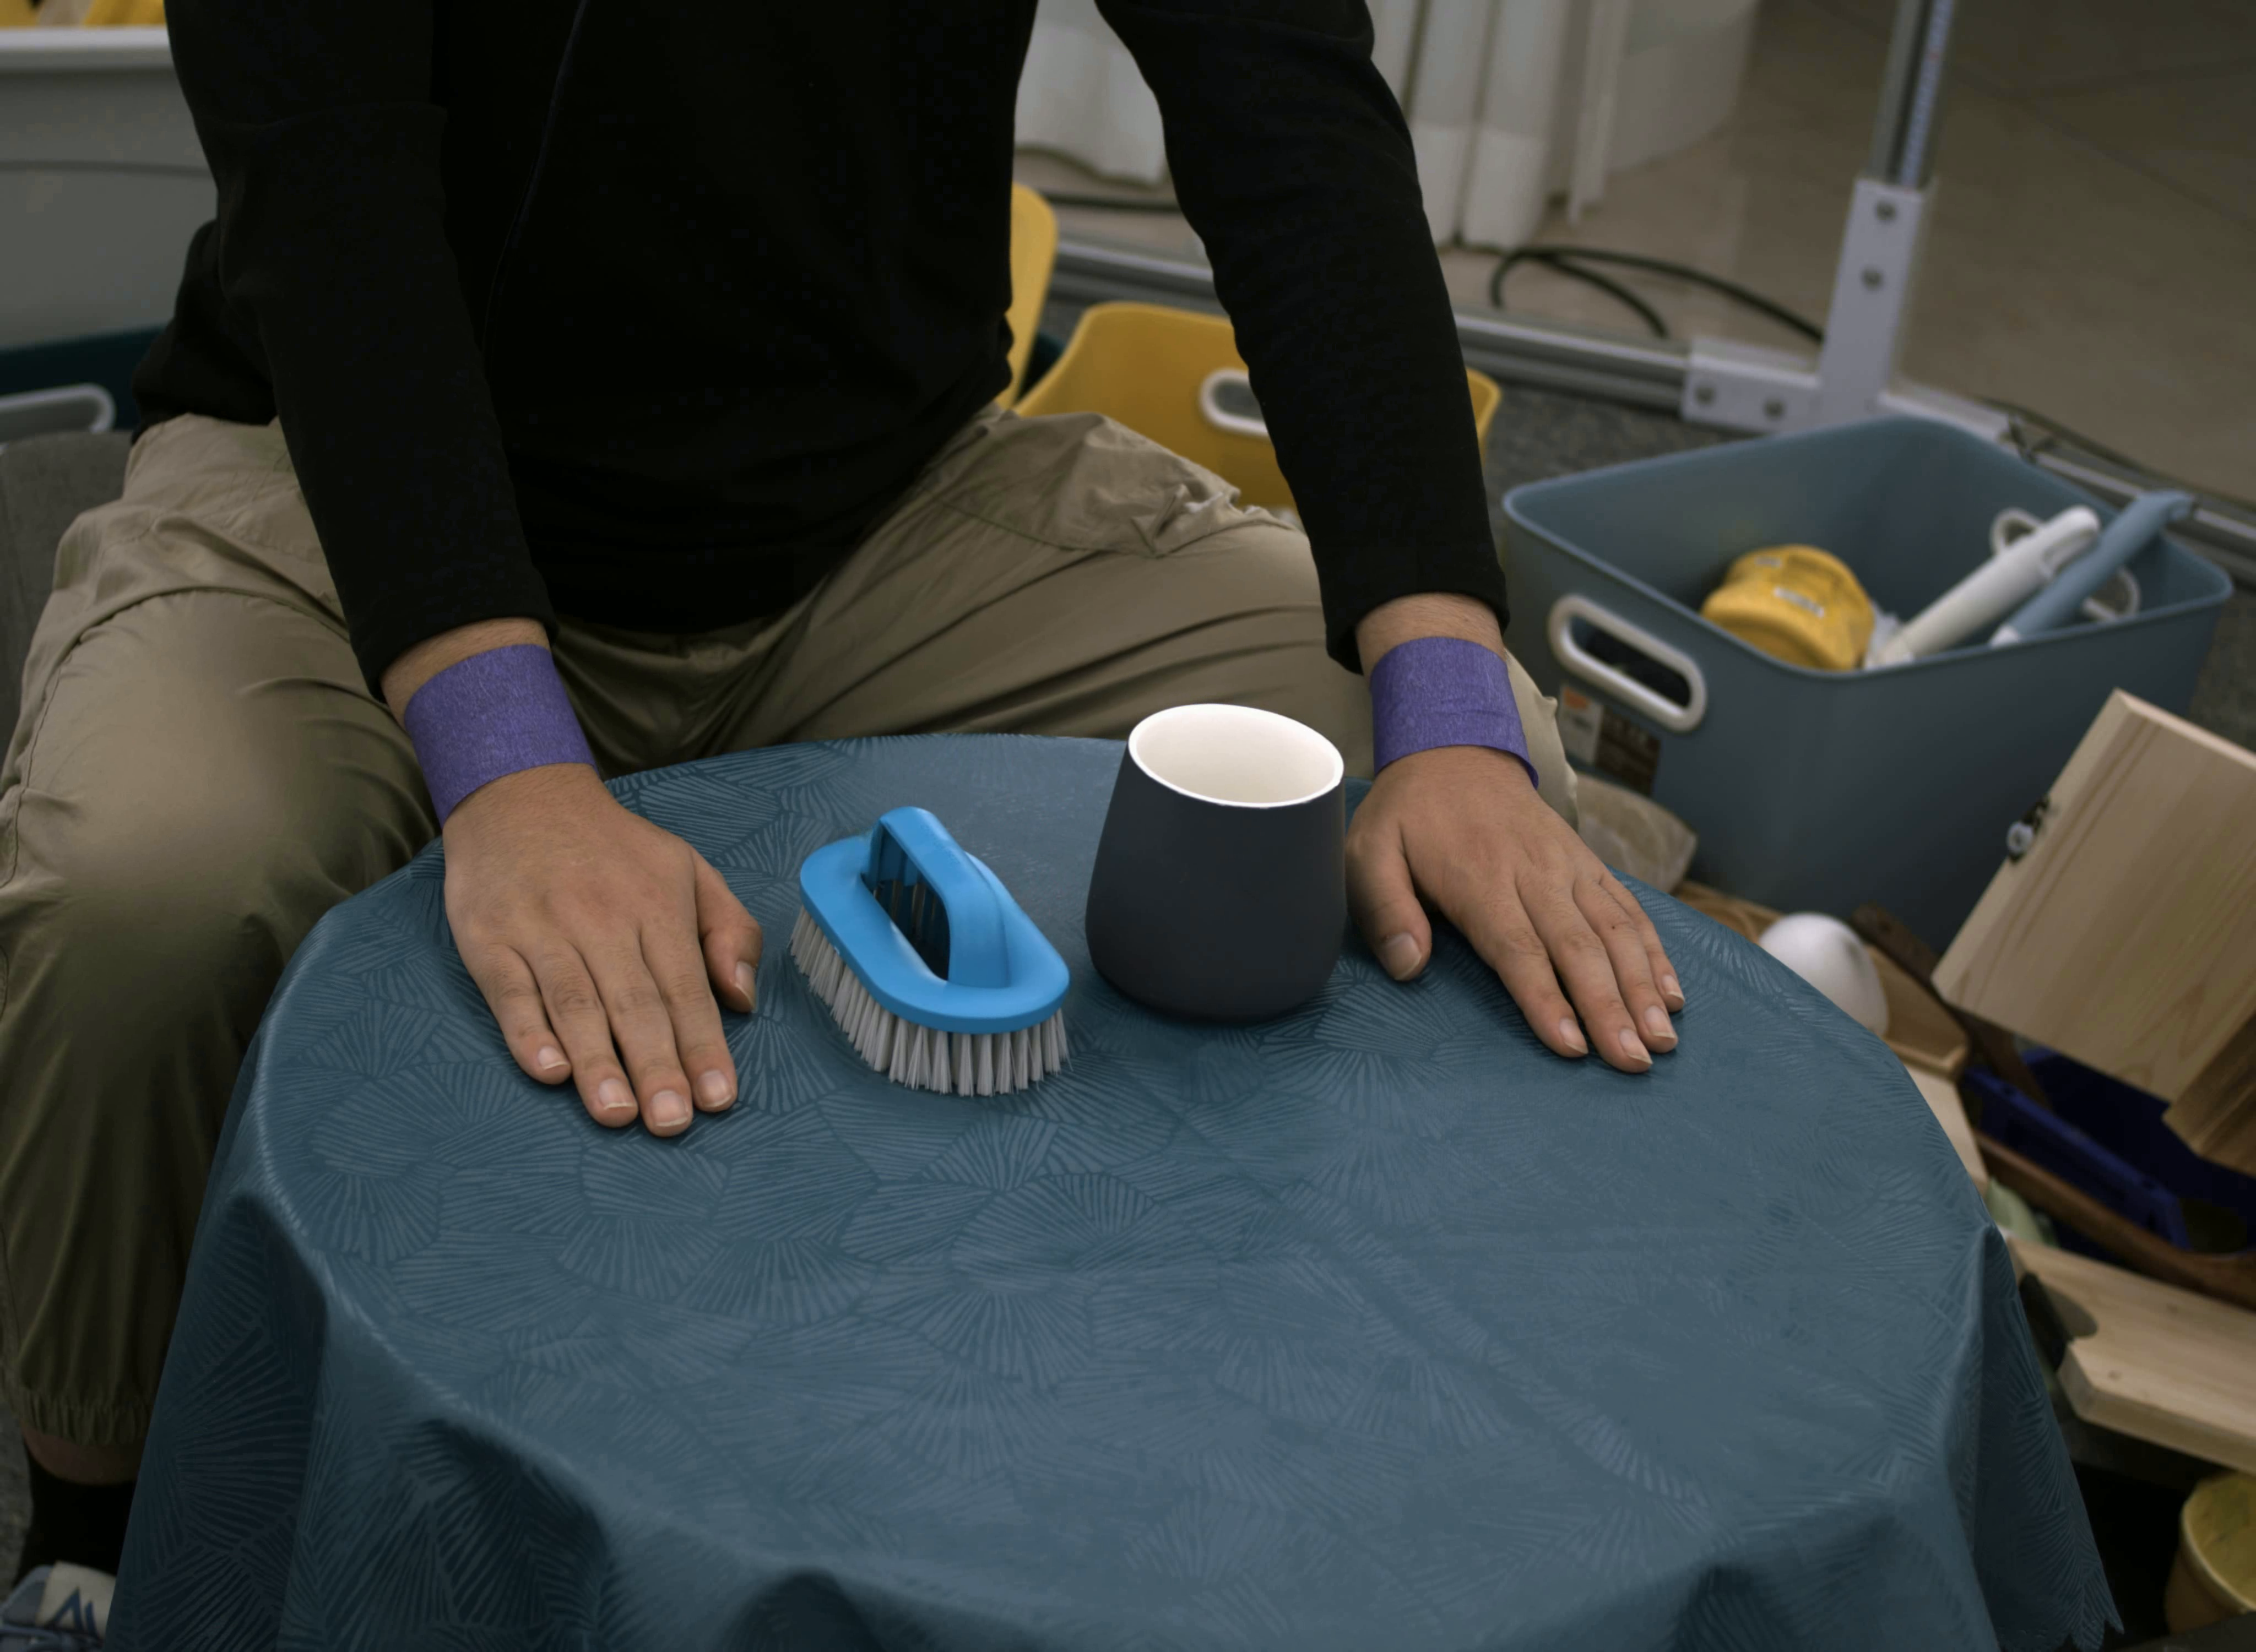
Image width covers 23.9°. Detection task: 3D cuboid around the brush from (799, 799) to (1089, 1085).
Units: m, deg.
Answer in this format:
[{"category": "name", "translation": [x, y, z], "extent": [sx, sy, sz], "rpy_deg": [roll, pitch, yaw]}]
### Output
[{"category": "brush", "translation": [-0.067, 0.032, 1.892], "extent": [0.084, 0.063, 0.143], "rpy_deg": [-10, 30, -20]}]

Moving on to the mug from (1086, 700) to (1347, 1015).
[{"category": "mug", "translation": [0.030, 0.005, 1.937], "extent": [0.093, 0.089, 0.124], "rpy_deg": [-2, 30, -18]}]
